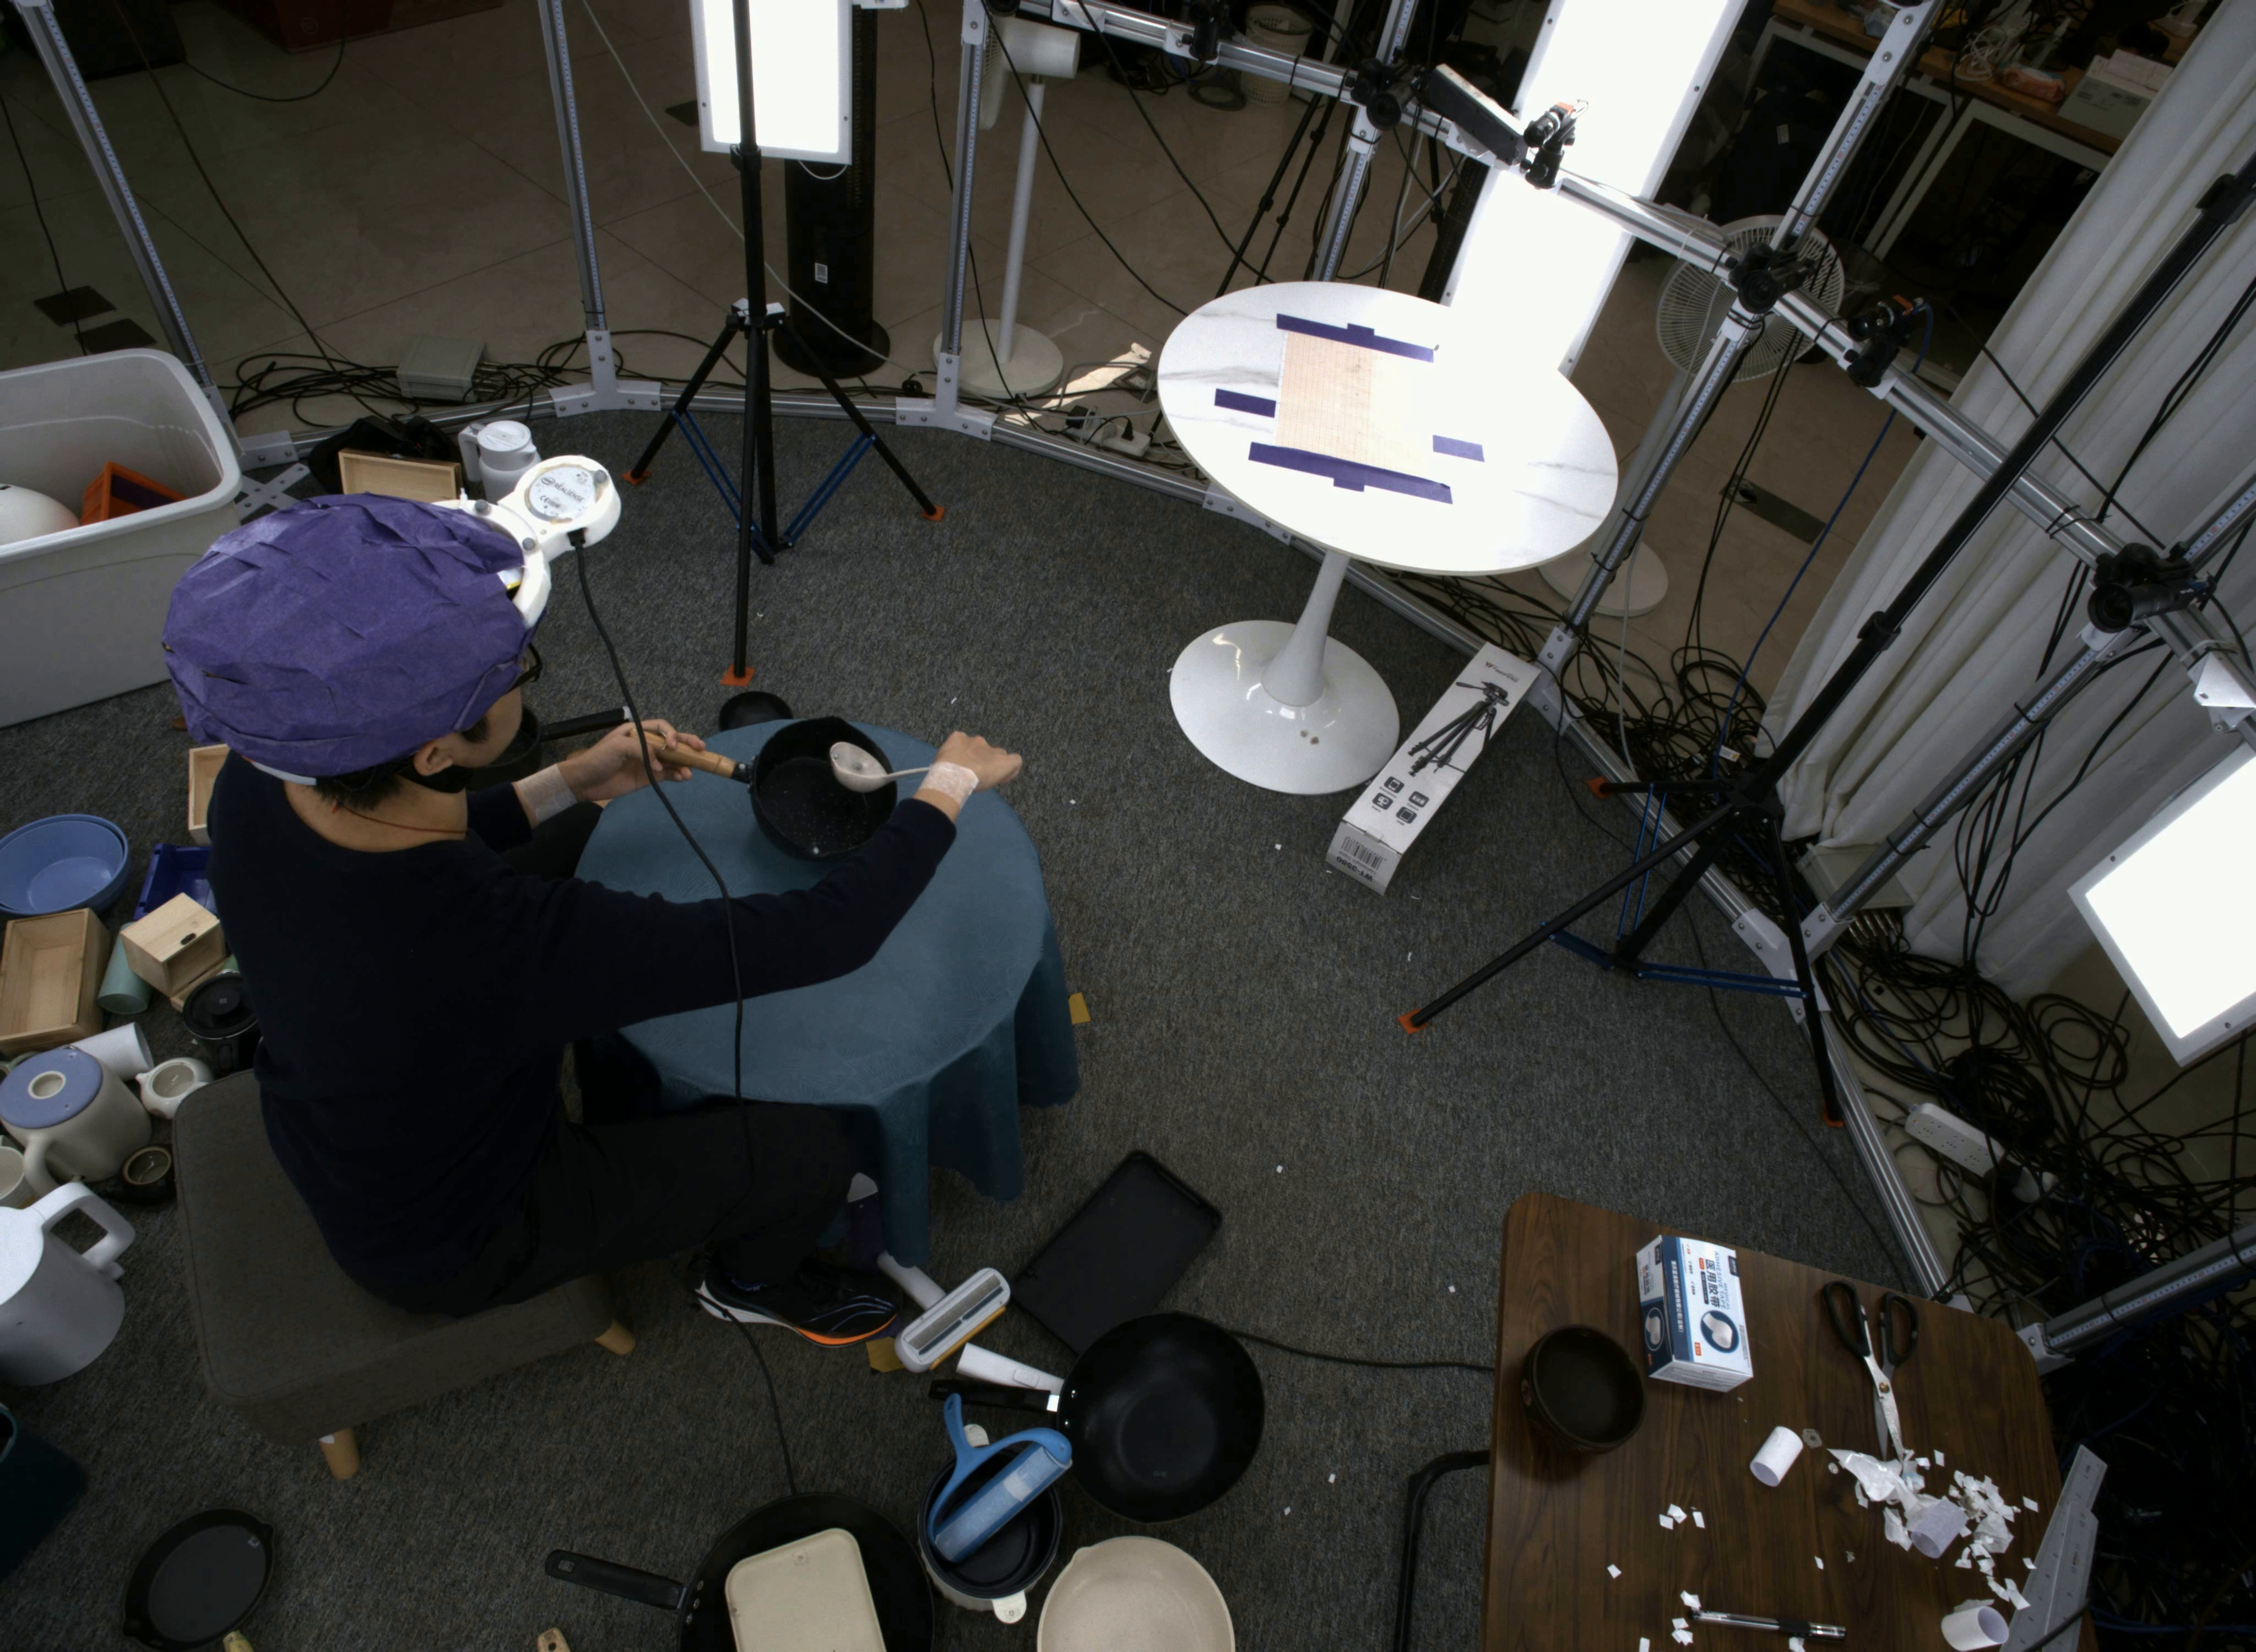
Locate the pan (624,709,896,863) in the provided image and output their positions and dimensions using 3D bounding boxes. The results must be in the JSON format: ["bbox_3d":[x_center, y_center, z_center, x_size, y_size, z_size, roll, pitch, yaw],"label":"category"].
[{"bbox_3d":[-0.467,-0.059,1.624,0.348,0.107,0.206,12,65,-26],"label":"pan"}]

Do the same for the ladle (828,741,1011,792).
[{"bbox_3d":[-0.257,-0.089,1.612,0.267,0.091,0.070,-7,80,30],"label":"ladle"}]
